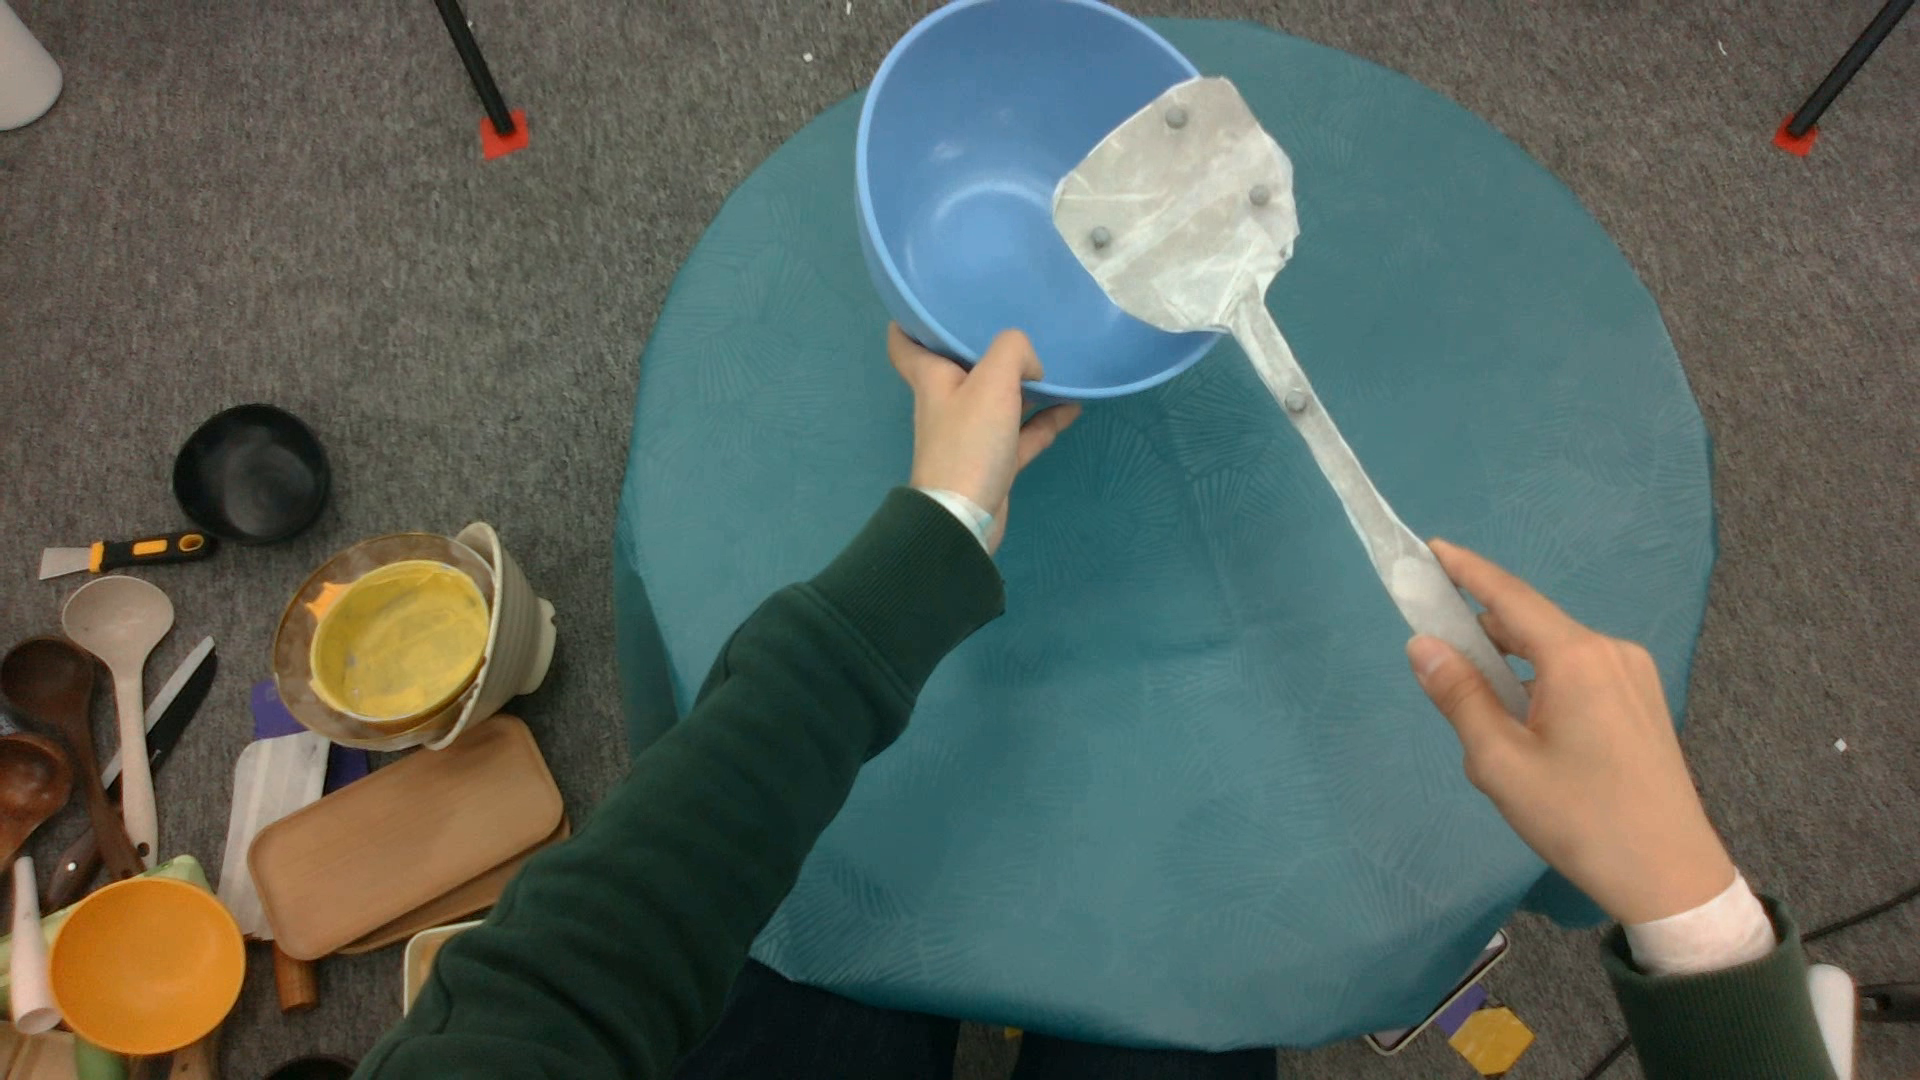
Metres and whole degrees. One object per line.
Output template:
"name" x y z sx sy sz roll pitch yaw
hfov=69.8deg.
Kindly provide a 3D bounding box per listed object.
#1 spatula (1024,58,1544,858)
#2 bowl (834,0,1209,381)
"spatula" 0.132 -0.047 0.549 0.098 0.045 0.366 -32 59 16
"bowl" 0.023 -0.161 0.668 0.197 0.095 0.197 4 77 -20
